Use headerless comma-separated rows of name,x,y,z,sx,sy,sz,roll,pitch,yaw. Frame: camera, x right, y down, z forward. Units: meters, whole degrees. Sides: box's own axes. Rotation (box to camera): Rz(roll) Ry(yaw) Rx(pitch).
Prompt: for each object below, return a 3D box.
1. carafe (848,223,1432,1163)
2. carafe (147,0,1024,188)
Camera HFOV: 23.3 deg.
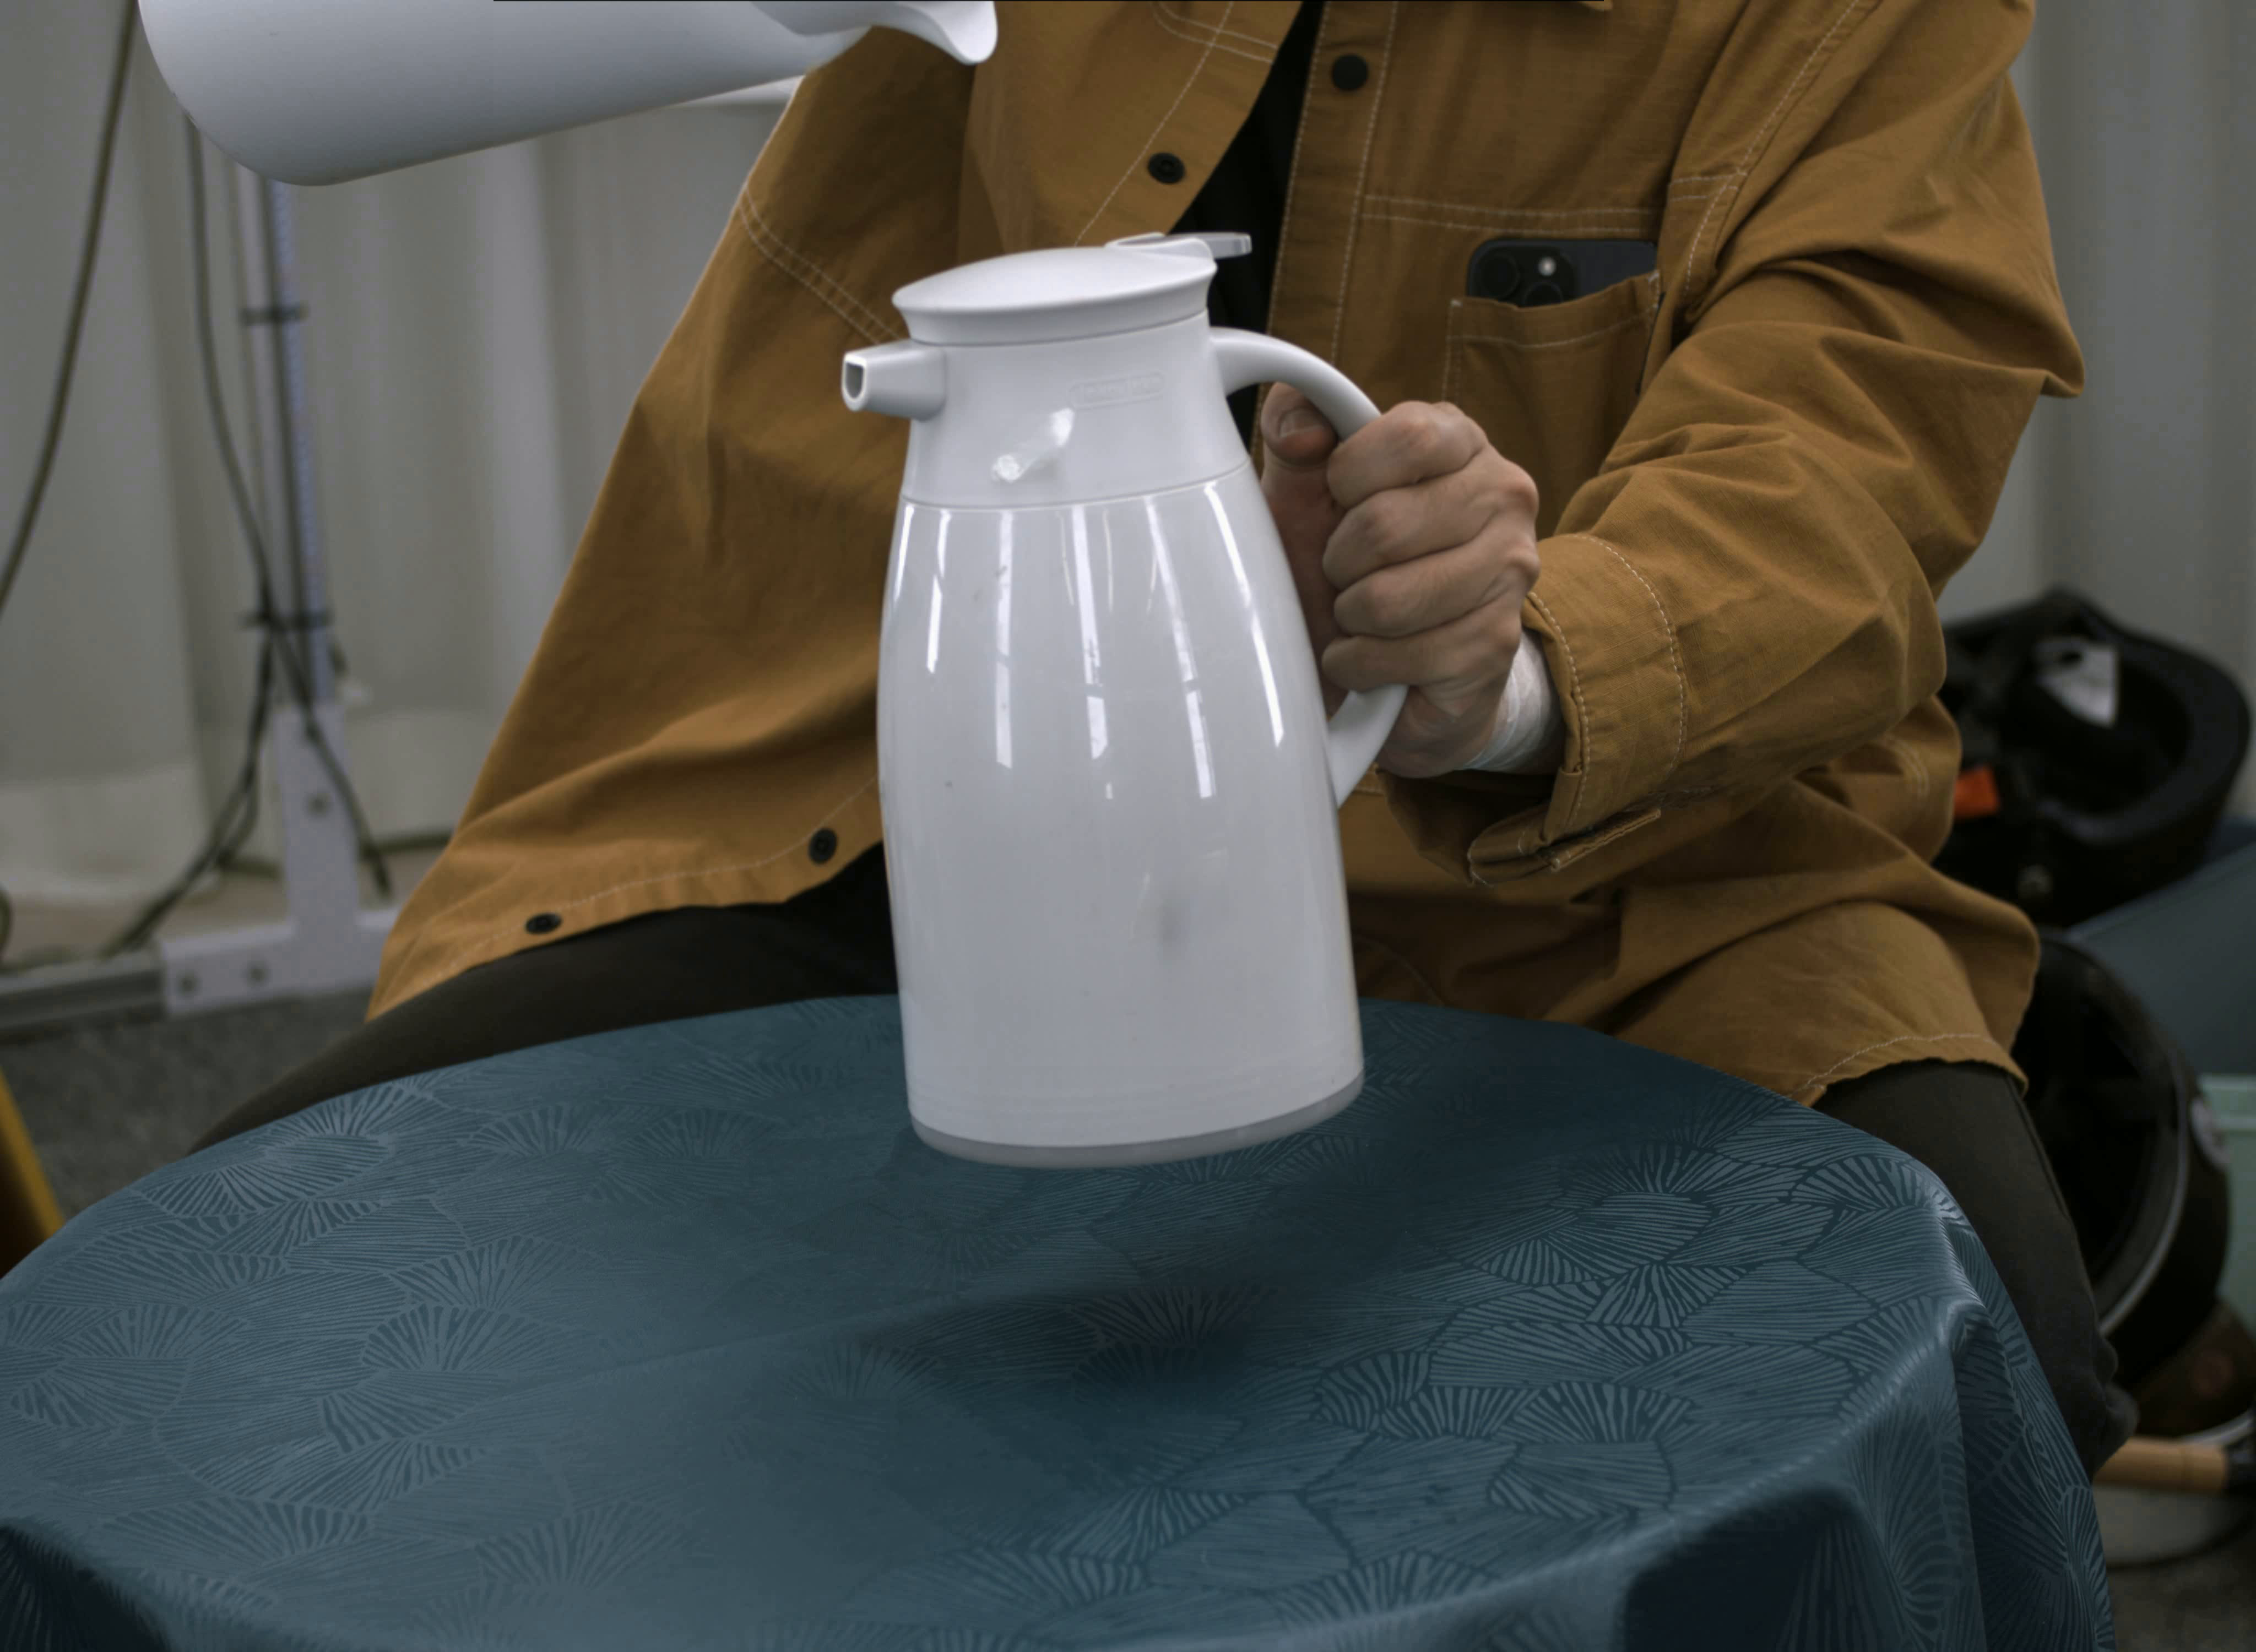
carafe,0.009,-0.045,1.559,0.167,0.248,0.133,-10,12,-21
carafe,-0.163,-0.278,1.579,0.269,0.172,0.124,-7,23,41
